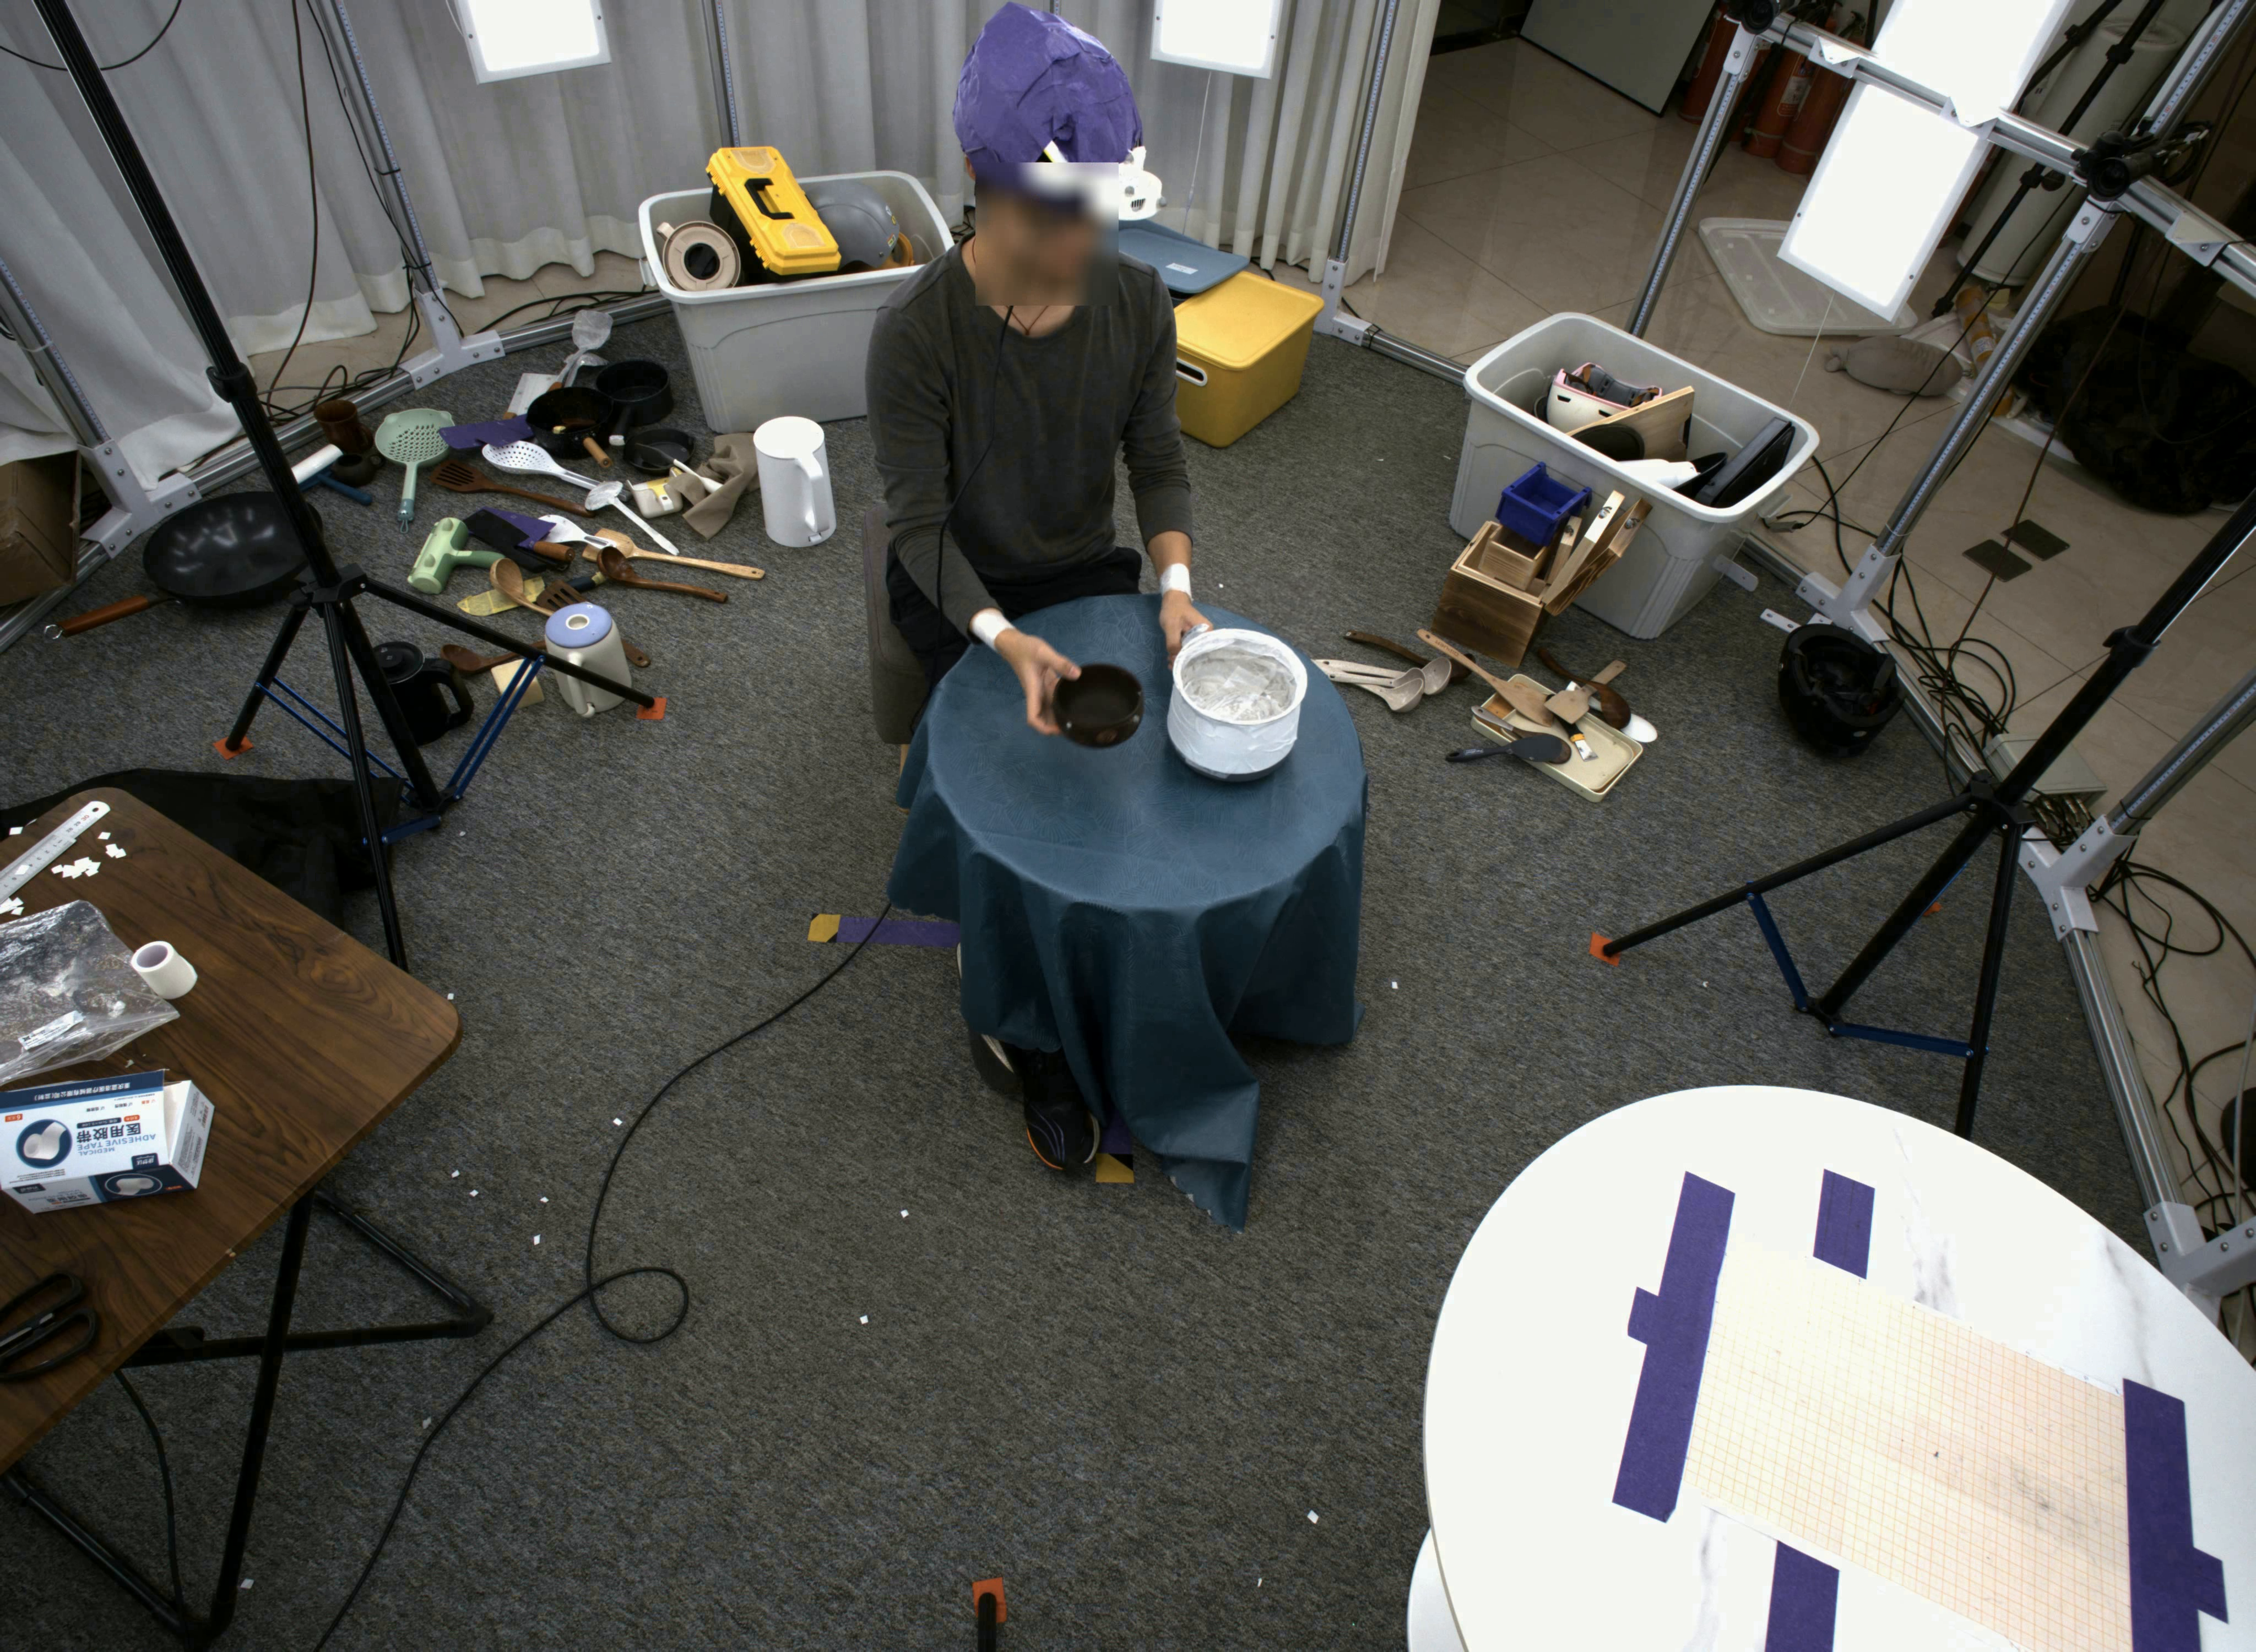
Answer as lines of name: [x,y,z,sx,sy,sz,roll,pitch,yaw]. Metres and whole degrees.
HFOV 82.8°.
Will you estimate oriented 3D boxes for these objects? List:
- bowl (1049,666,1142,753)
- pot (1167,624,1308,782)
bowl: [-0.040,-0.141,1.640,0.118,0.068,0.121,-3,48,3]
pot: [0.131,-0.177,1.740,0.179,0.133,0.239,-20,54,-20]
